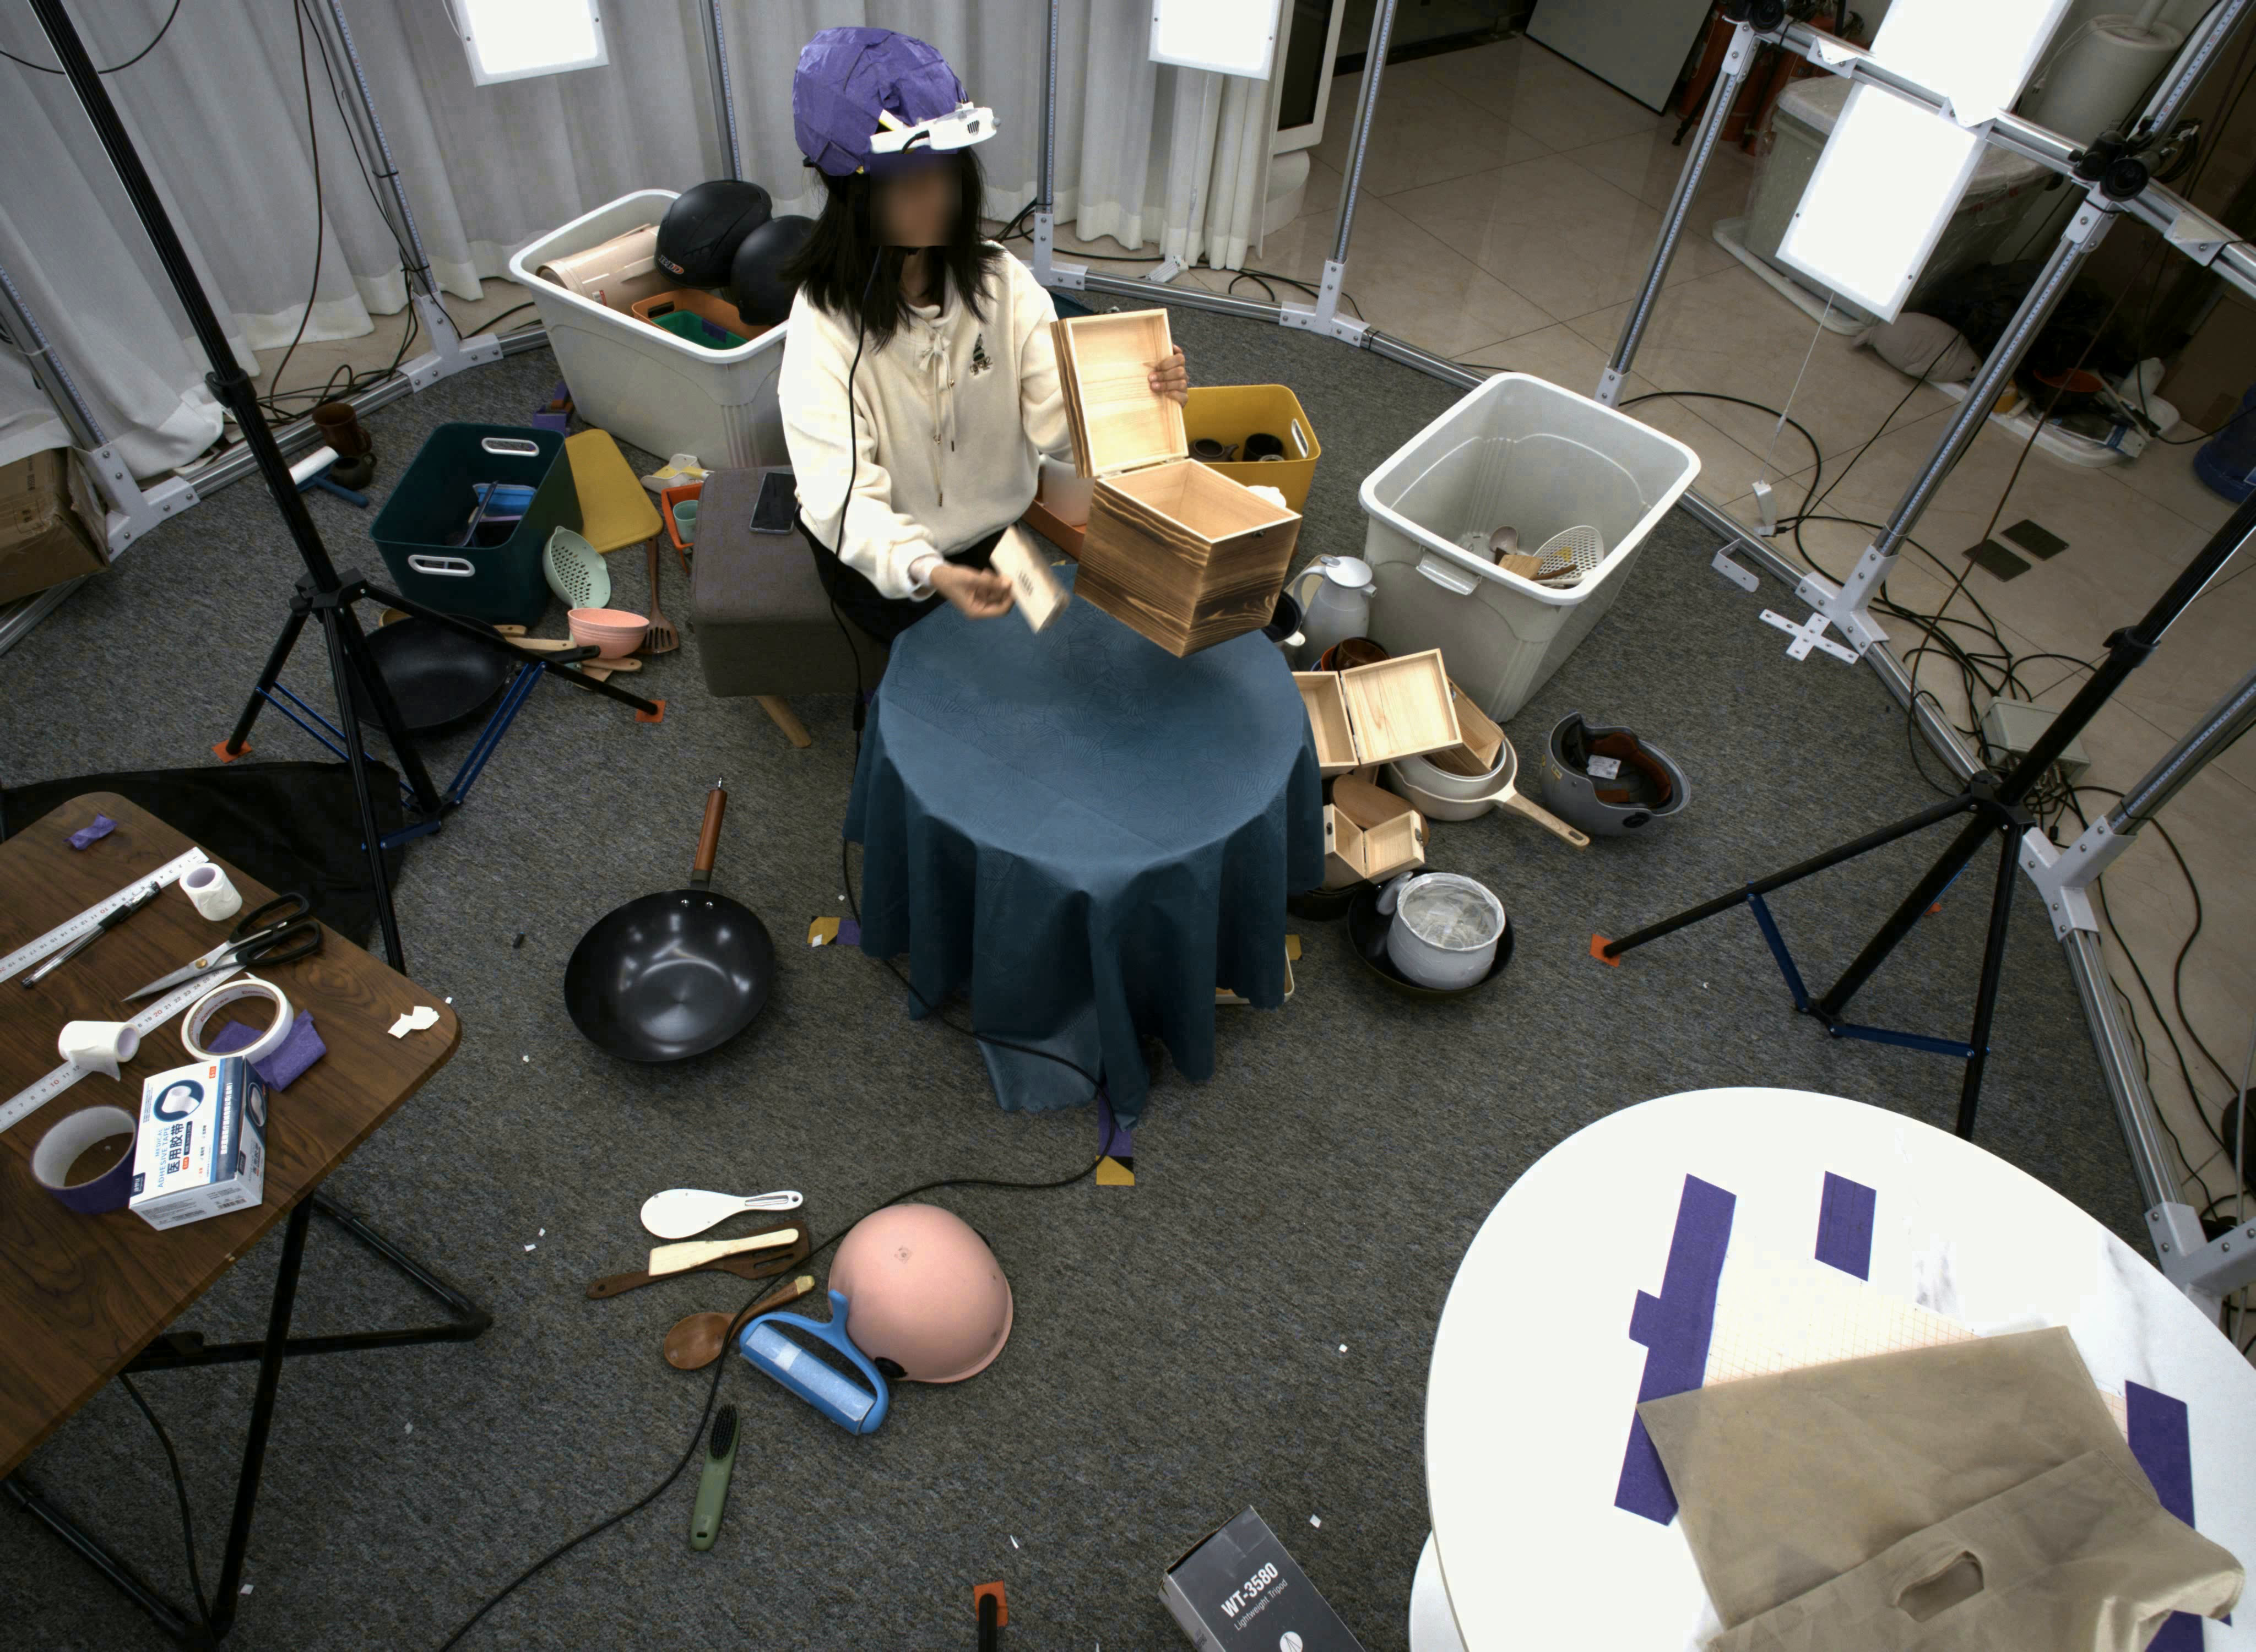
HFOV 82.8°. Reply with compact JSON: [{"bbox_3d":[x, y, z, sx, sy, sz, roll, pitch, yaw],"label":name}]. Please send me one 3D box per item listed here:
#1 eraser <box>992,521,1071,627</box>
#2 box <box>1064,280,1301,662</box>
[{"bbox_3d":[-0.129,-0.335,1.712,0.029,0.056,0.142,-5,55,-43],"label":"eraser"},{"bbox_3d":[0.059,-0.471,1.720,0.327,0.367,0.210,36,40,27],"label":"box"}]
